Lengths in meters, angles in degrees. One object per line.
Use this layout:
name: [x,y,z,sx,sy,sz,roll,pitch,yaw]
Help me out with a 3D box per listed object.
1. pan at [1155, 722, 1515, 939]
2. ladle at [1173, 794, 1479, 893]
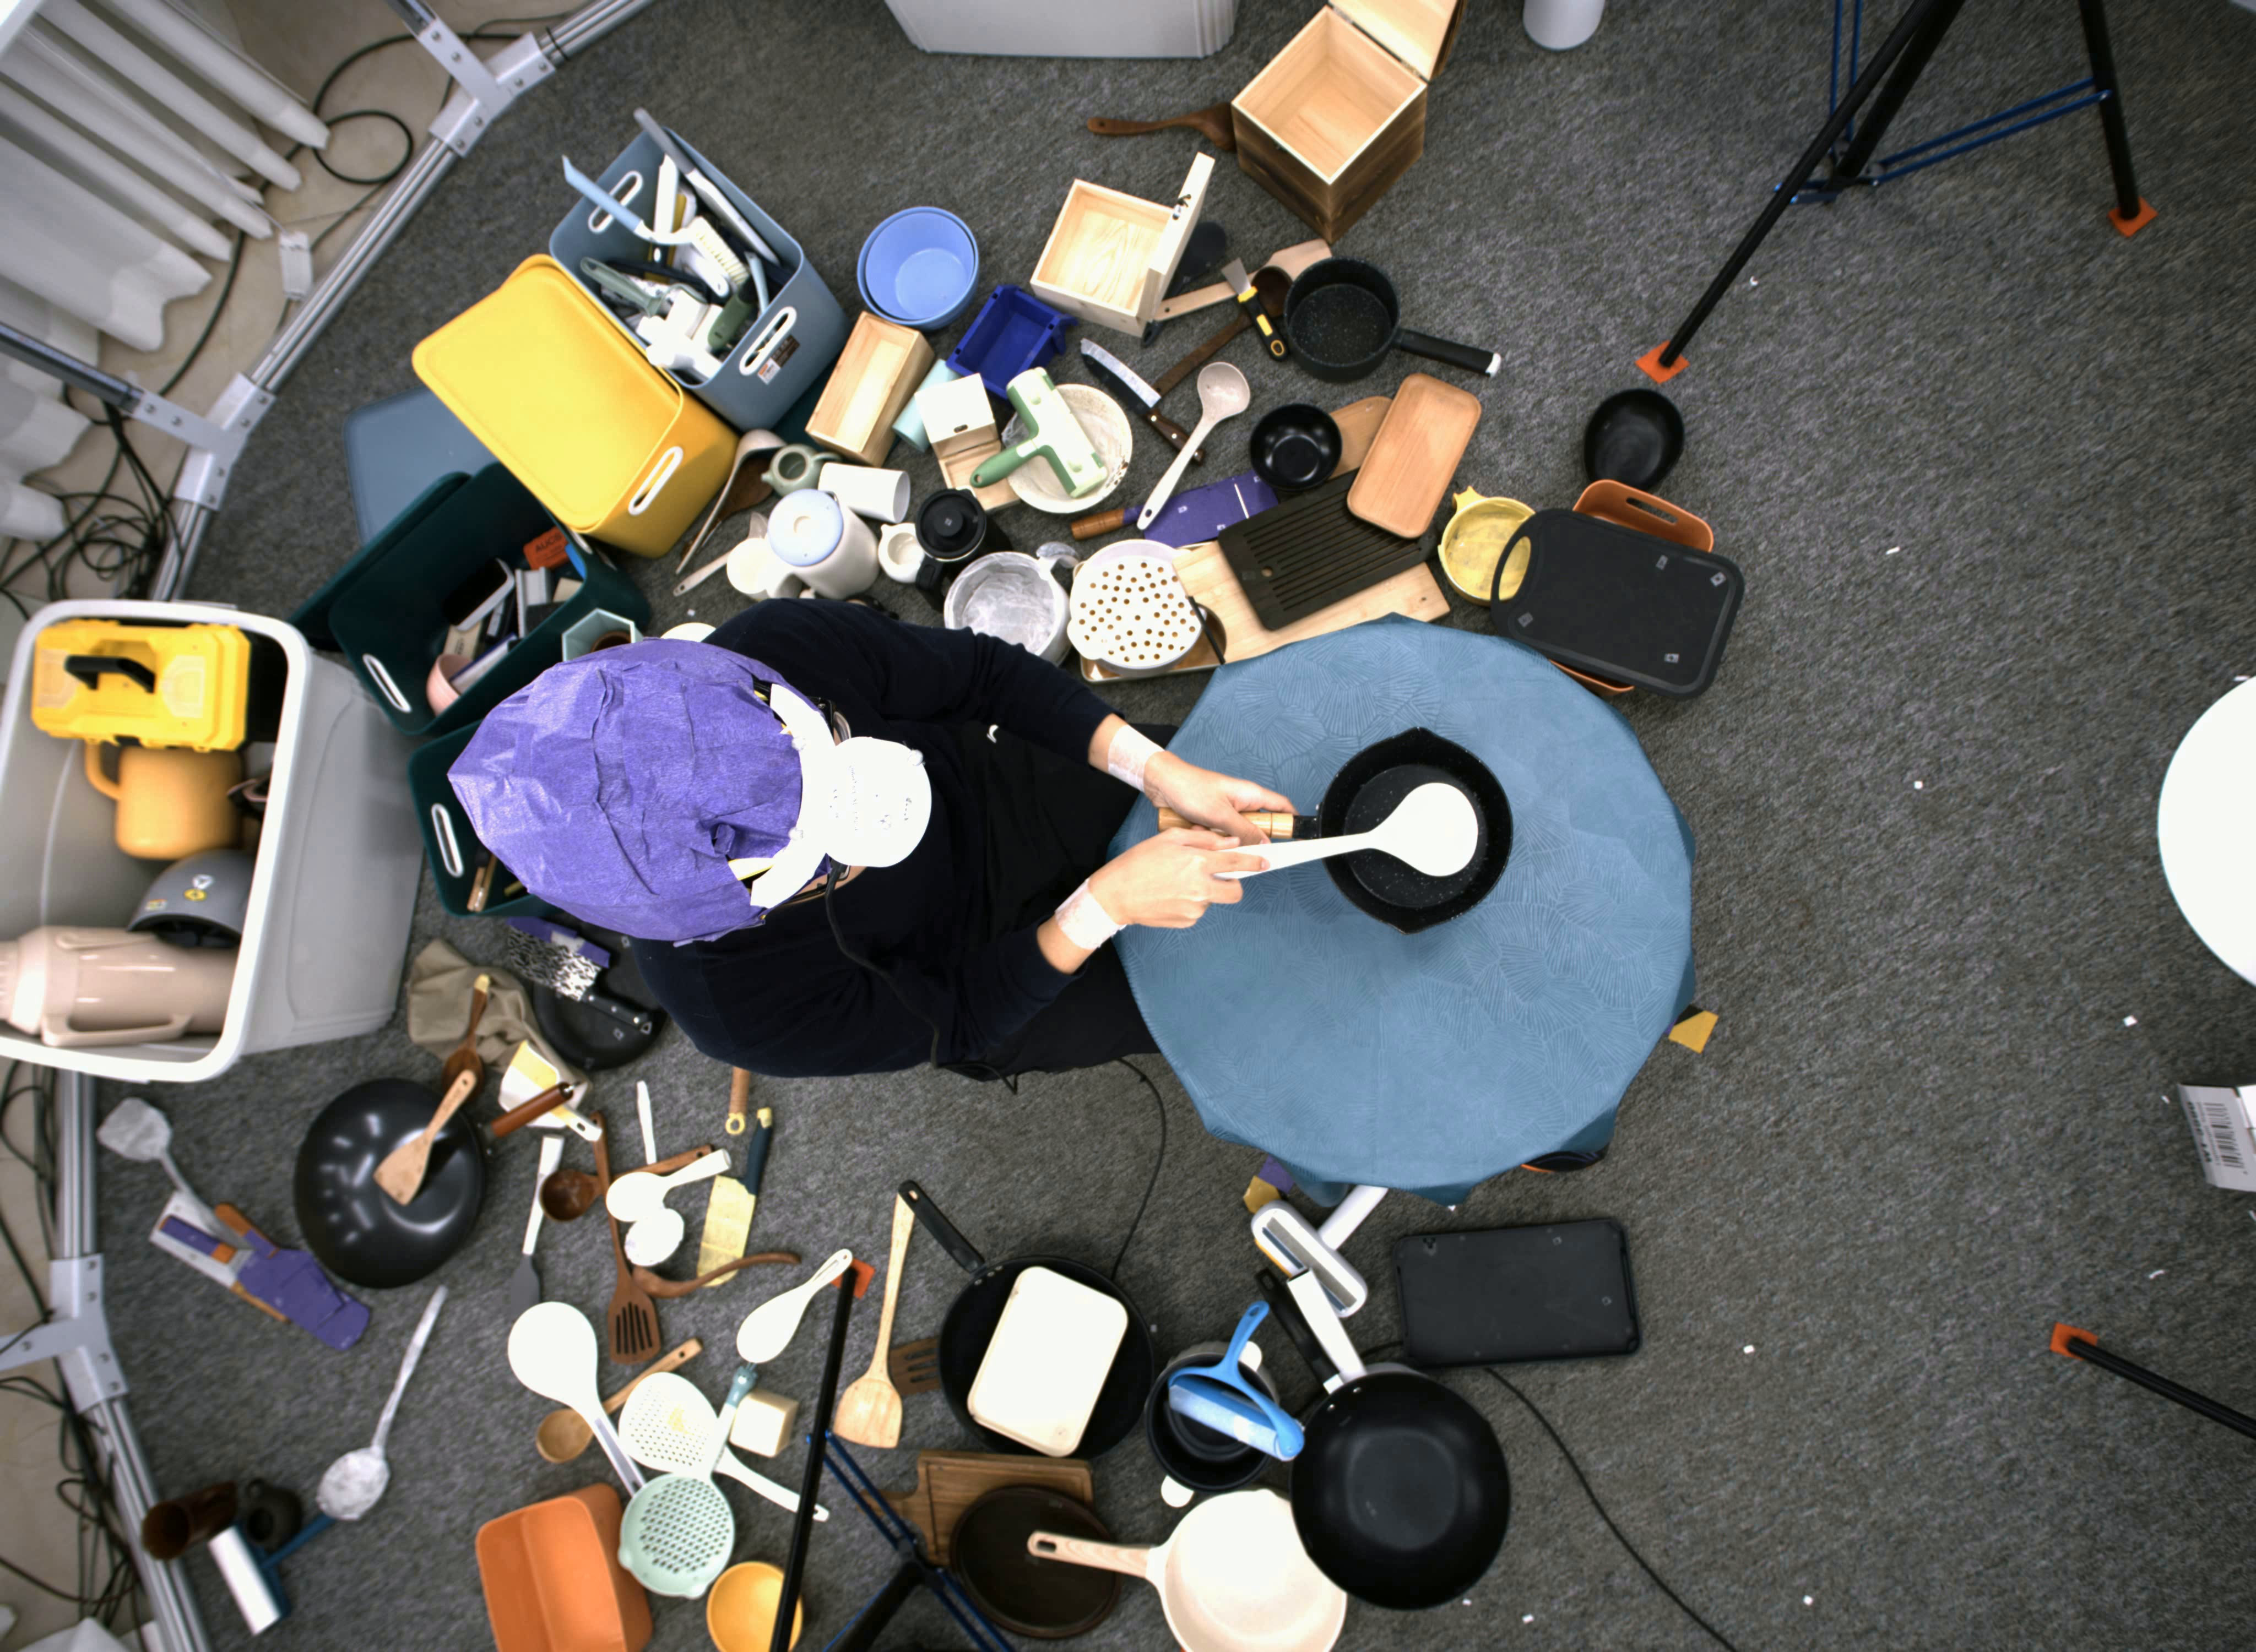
pan: [0.201,0.003,1.355,0.344,0.108,0.207,1,90,13]
ladle: [0.189,0.027,1.304,0.291,0.070,0.090,-8,97,-18]
